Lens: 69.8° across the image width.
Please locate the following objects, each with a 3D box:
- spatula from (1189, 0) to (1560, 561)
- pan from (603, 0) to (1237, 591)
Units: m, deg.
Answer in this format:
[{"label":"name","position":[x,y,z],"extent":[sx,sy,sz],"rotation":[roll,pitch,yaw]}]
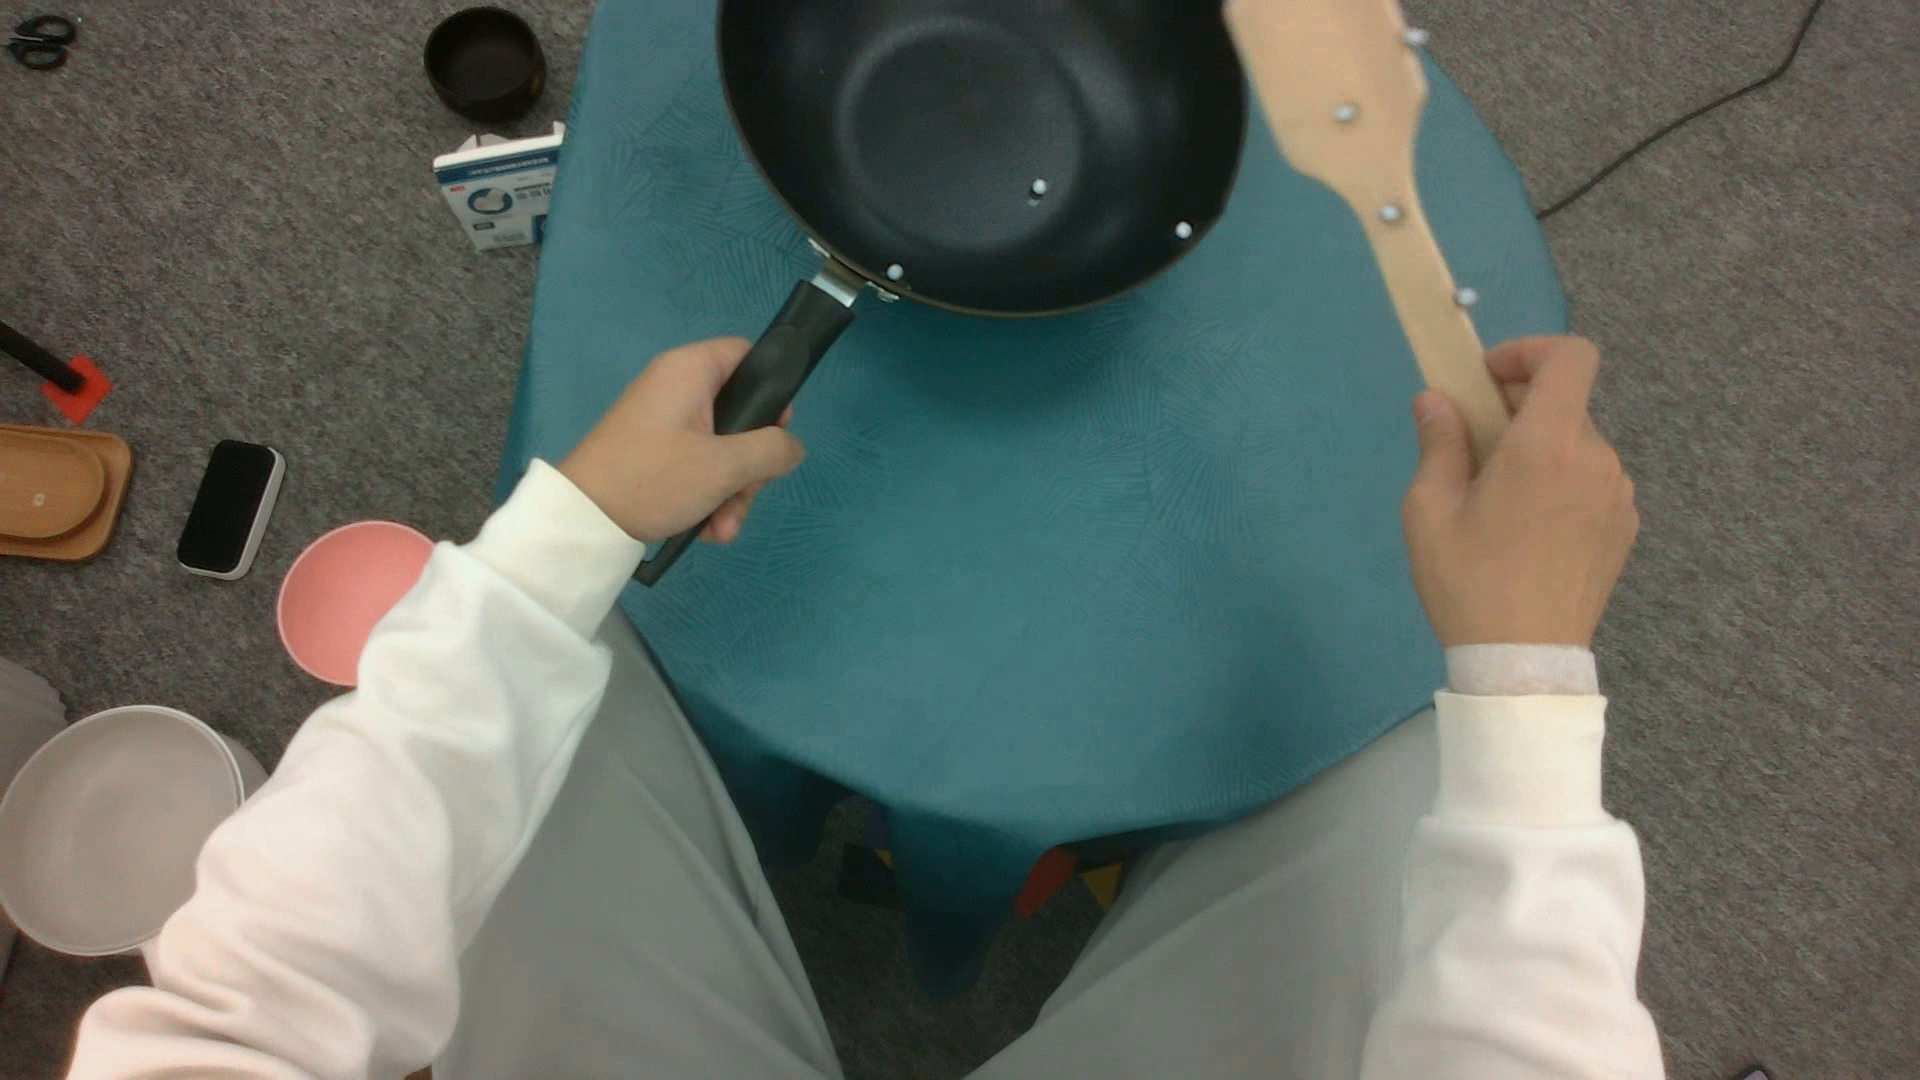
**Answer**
[{"label":"spatula","position":[0.195,-0.123,0.623],"extent":[0.011,0.072,0.293],"rotation":[-24,86,-45]},{"label":"pan","position":[-0.040,-0.161,0.742],"extent":[0.288,0.086,0.464],"rotation":[32,75,-1]}]
